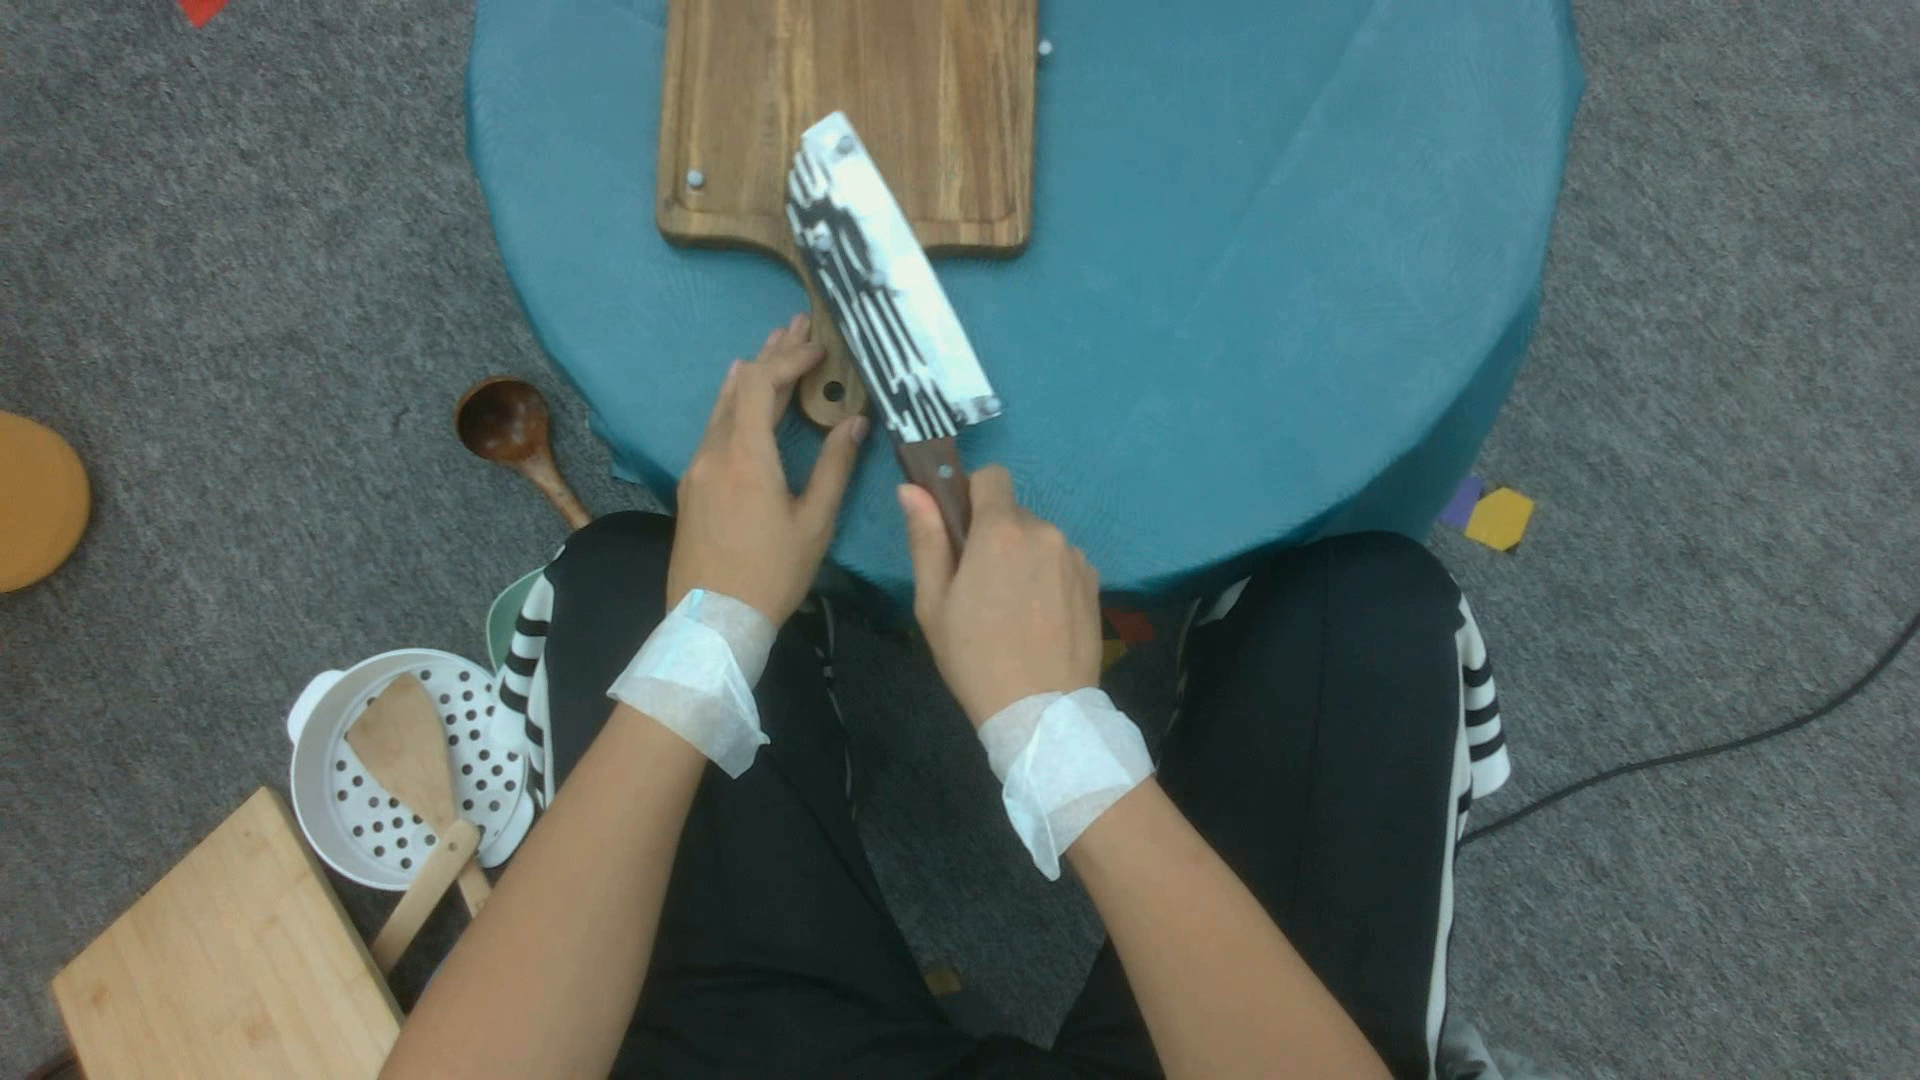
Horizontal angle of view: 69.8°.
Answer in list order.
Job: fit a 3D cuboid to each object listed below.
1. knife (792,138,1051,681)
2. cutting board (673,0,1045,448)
[{"bbox_3d":[-0.014,-0.073,0.697,0.068,0.024,0.300,-22,81,-33],"label":"knife"},{"bbox_3d":[-0.055,-0.223,0.753,0.201,0.023,0.352,1,80,1],"label":"cutting board"}]
